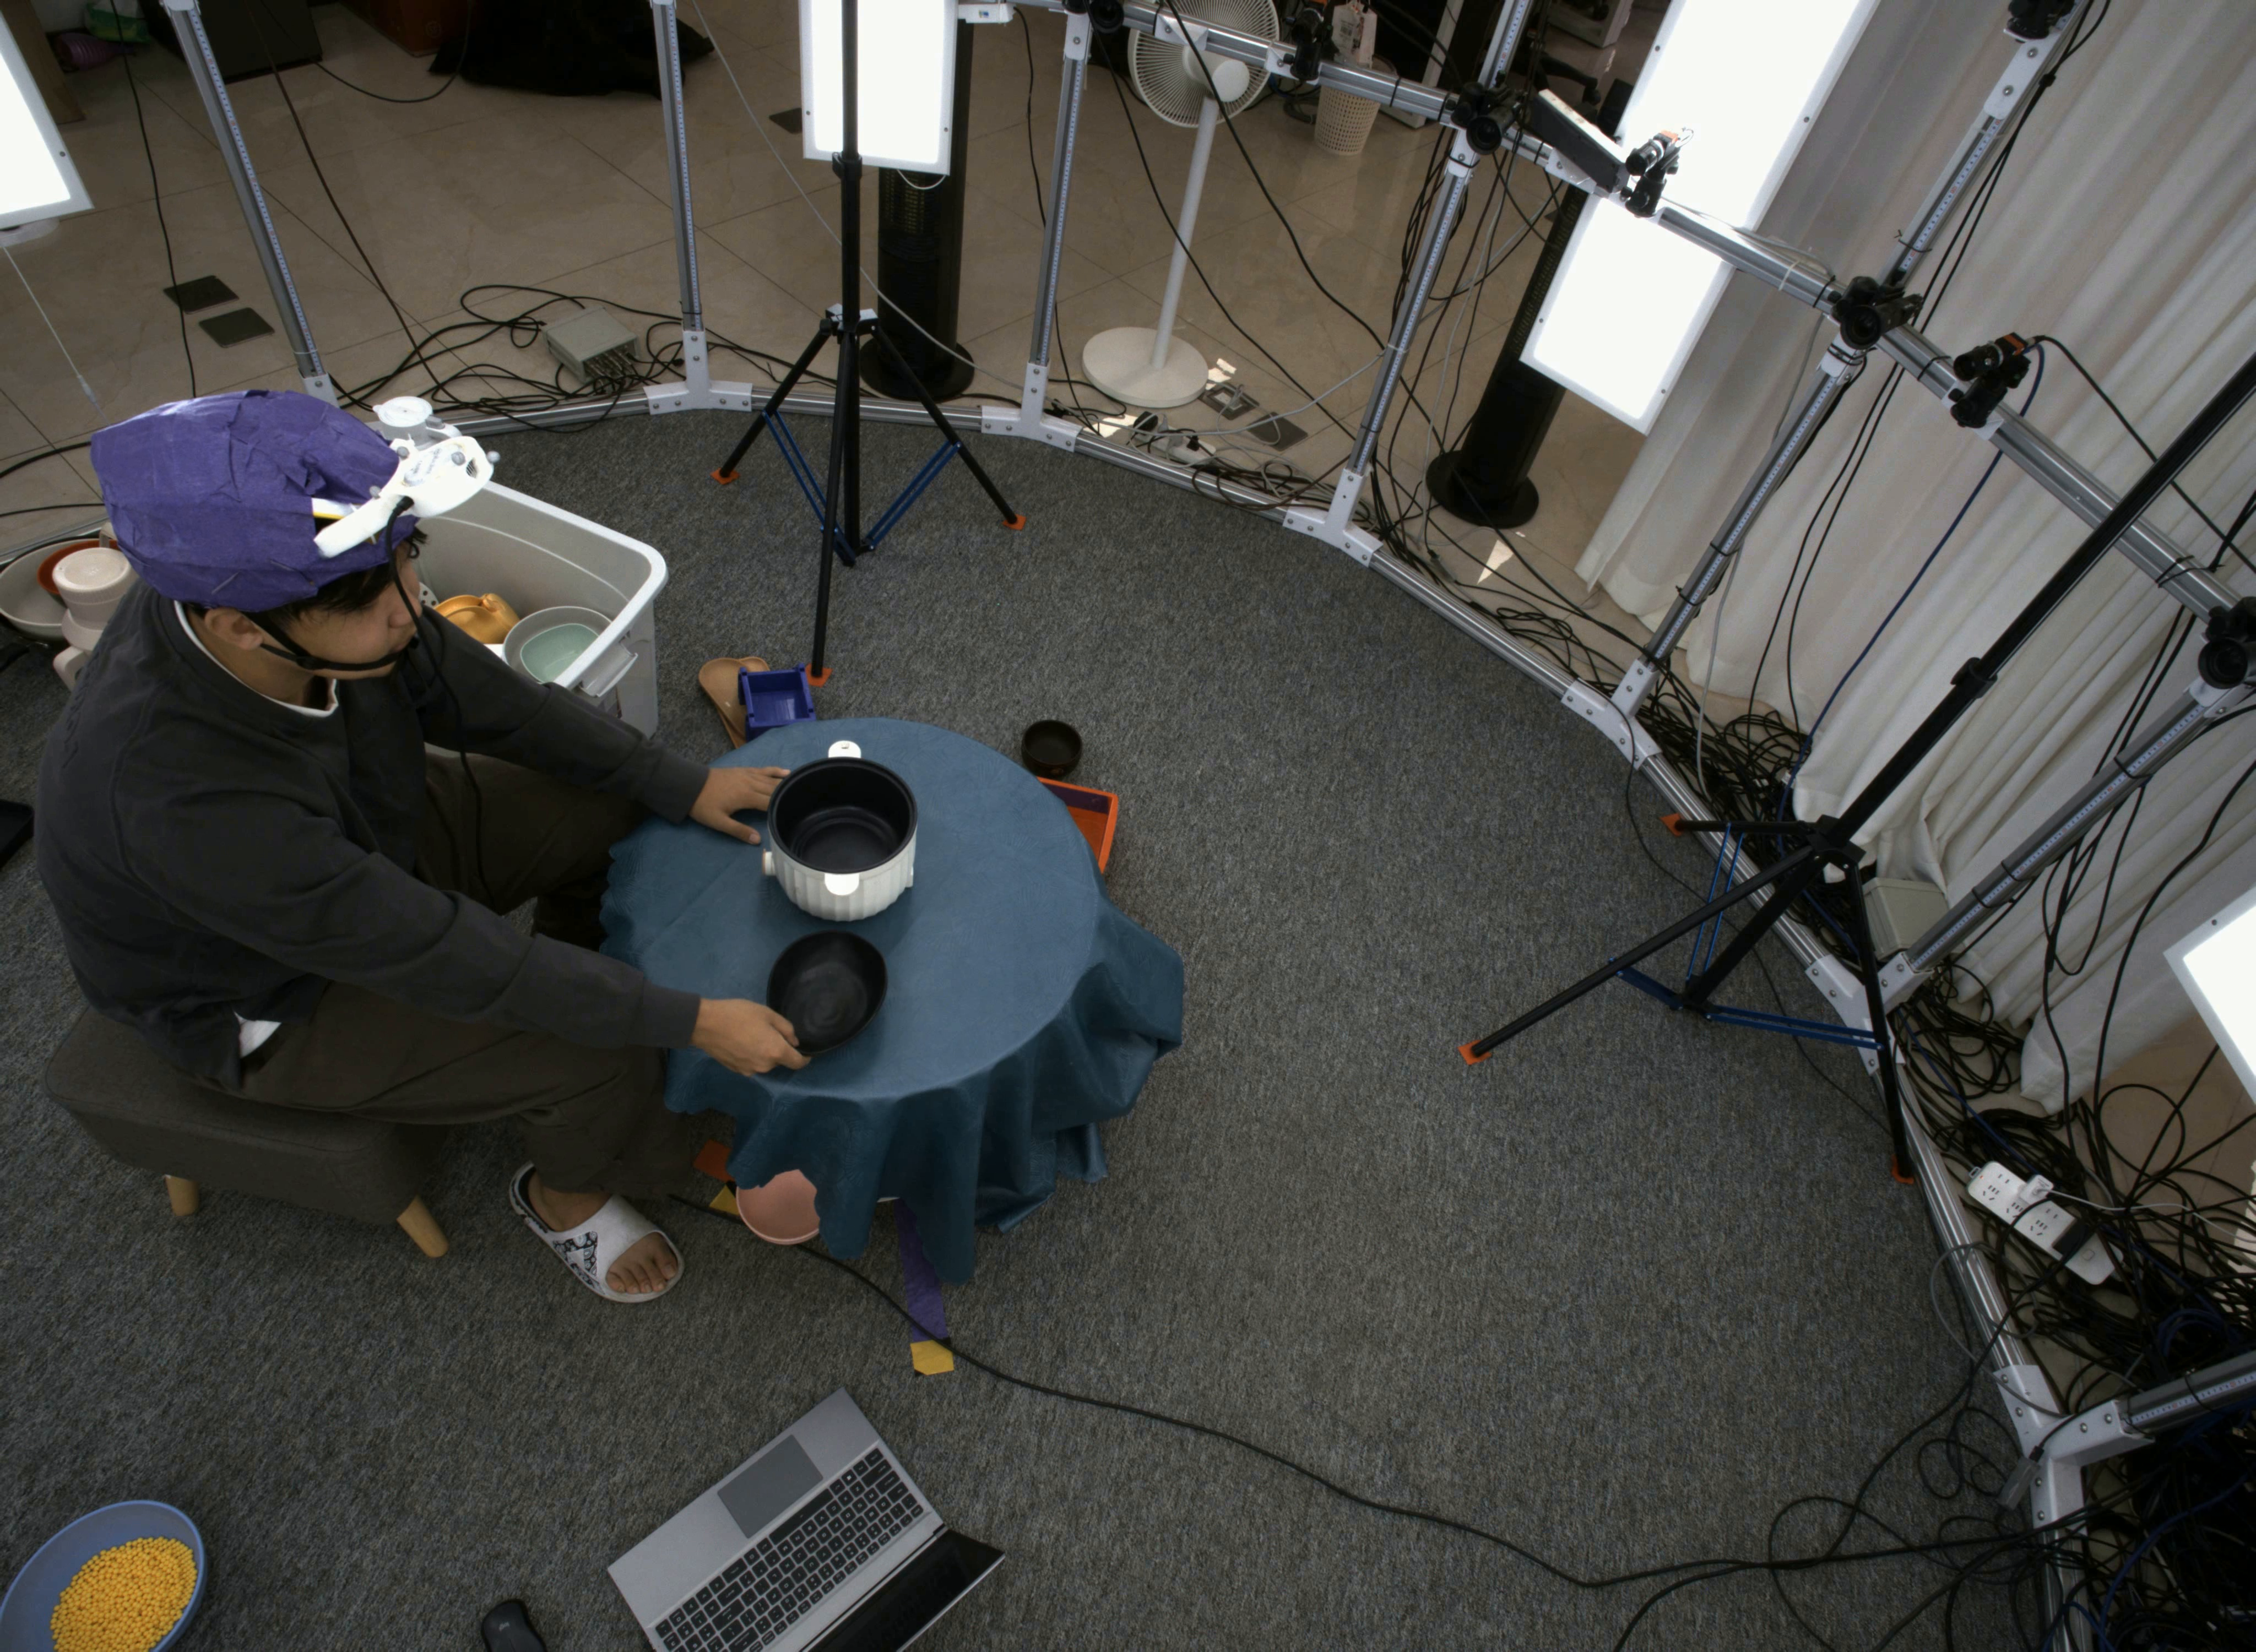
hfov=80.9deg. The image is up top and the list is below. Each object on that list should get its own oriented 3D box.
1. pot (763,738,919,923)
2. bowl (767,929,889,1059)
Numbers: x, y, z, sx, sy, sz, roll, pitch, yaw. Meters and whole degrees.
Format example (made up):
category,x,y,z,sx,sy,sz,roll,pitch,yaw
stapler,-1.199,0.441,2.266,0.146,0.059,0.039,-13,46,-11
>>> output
category,x,y,z,sx,sy,sz,roll,pitch,yaw
pot,-0.361,0.024,1.629,0.191,0.145,0.235,2,52,-15
bowl,-0.356,0.205,1.541,0.136,0.068,0.168,15,52,-2
